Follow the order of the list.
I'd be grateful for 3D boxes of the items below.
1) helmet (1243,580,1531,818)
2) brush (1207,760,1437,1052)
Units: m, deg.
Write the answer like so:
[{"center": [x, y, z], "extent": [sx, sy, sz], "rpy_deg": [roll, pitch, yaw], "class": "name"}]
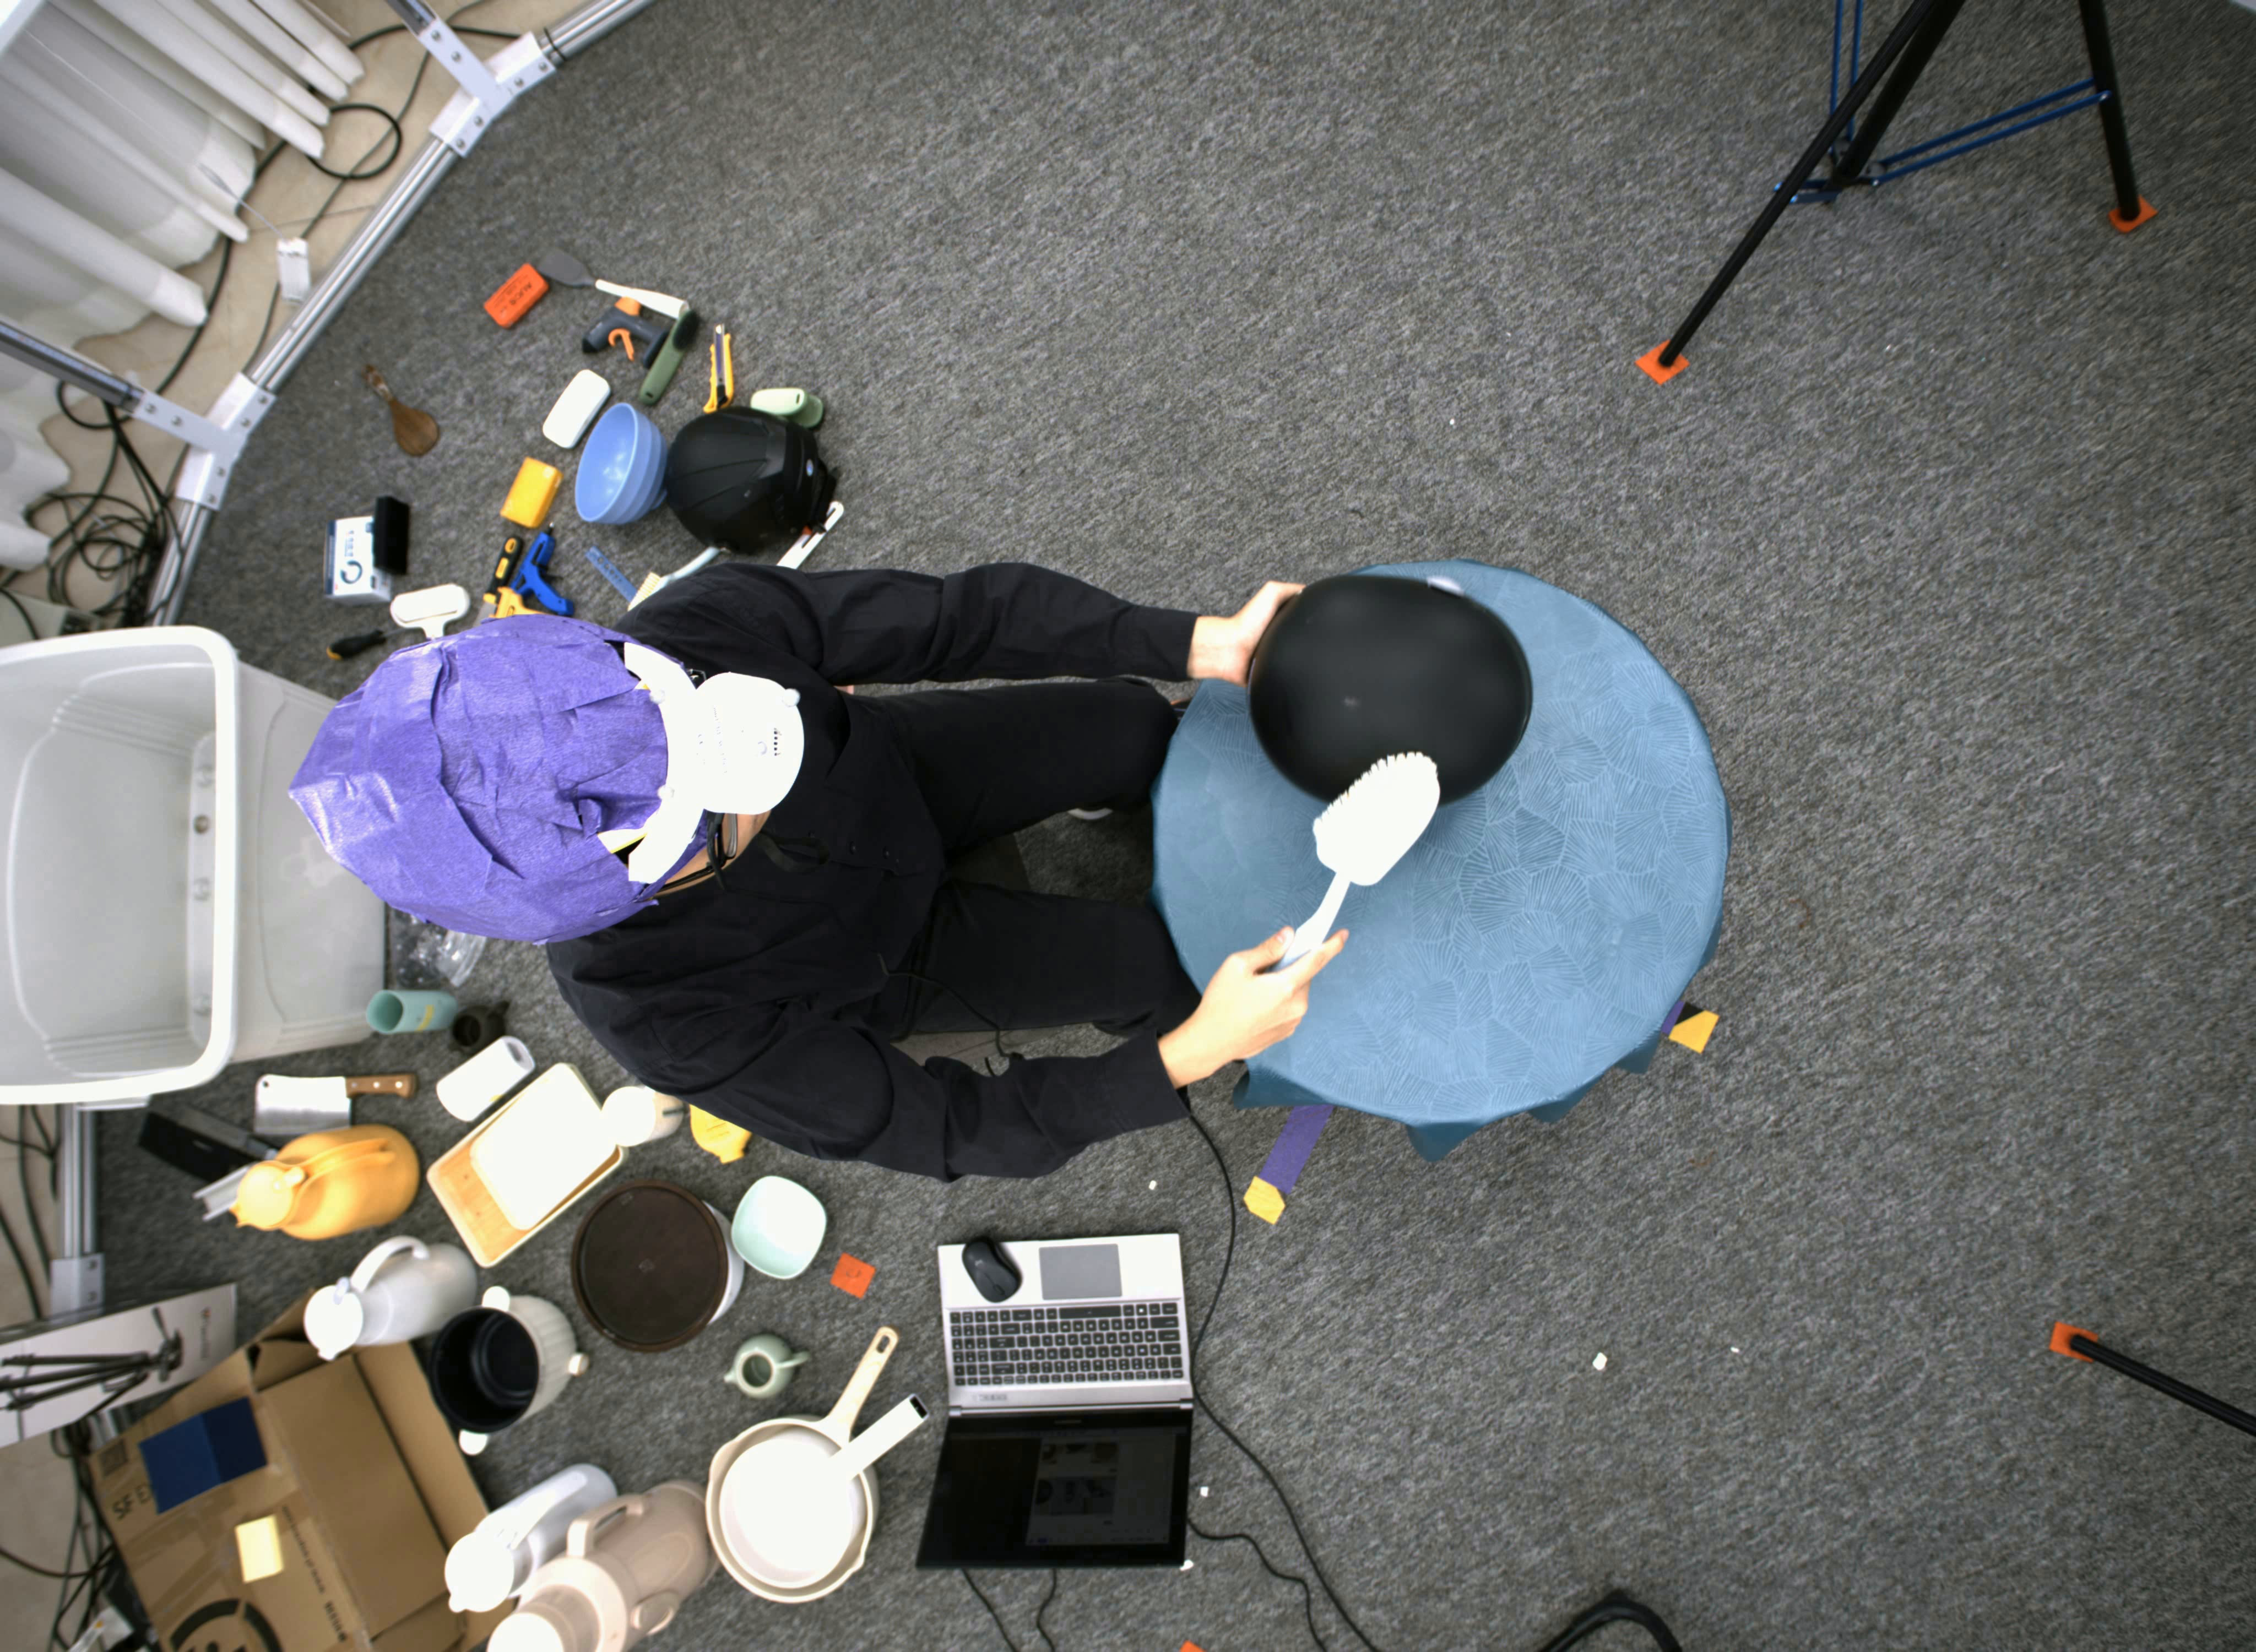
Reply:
[{"center": [0.231, -0.110, 1.266], "extent": [0.273, 0.164, 0.234], "rpy_deg": [13, 111, 13], "class": "helmet"}, {"center": [0.164, 0.067, 1.254], "extent": [0.082, 0.084, 0.331], "rpy_deg": [44, 112, 20], "class": "brush"}]
